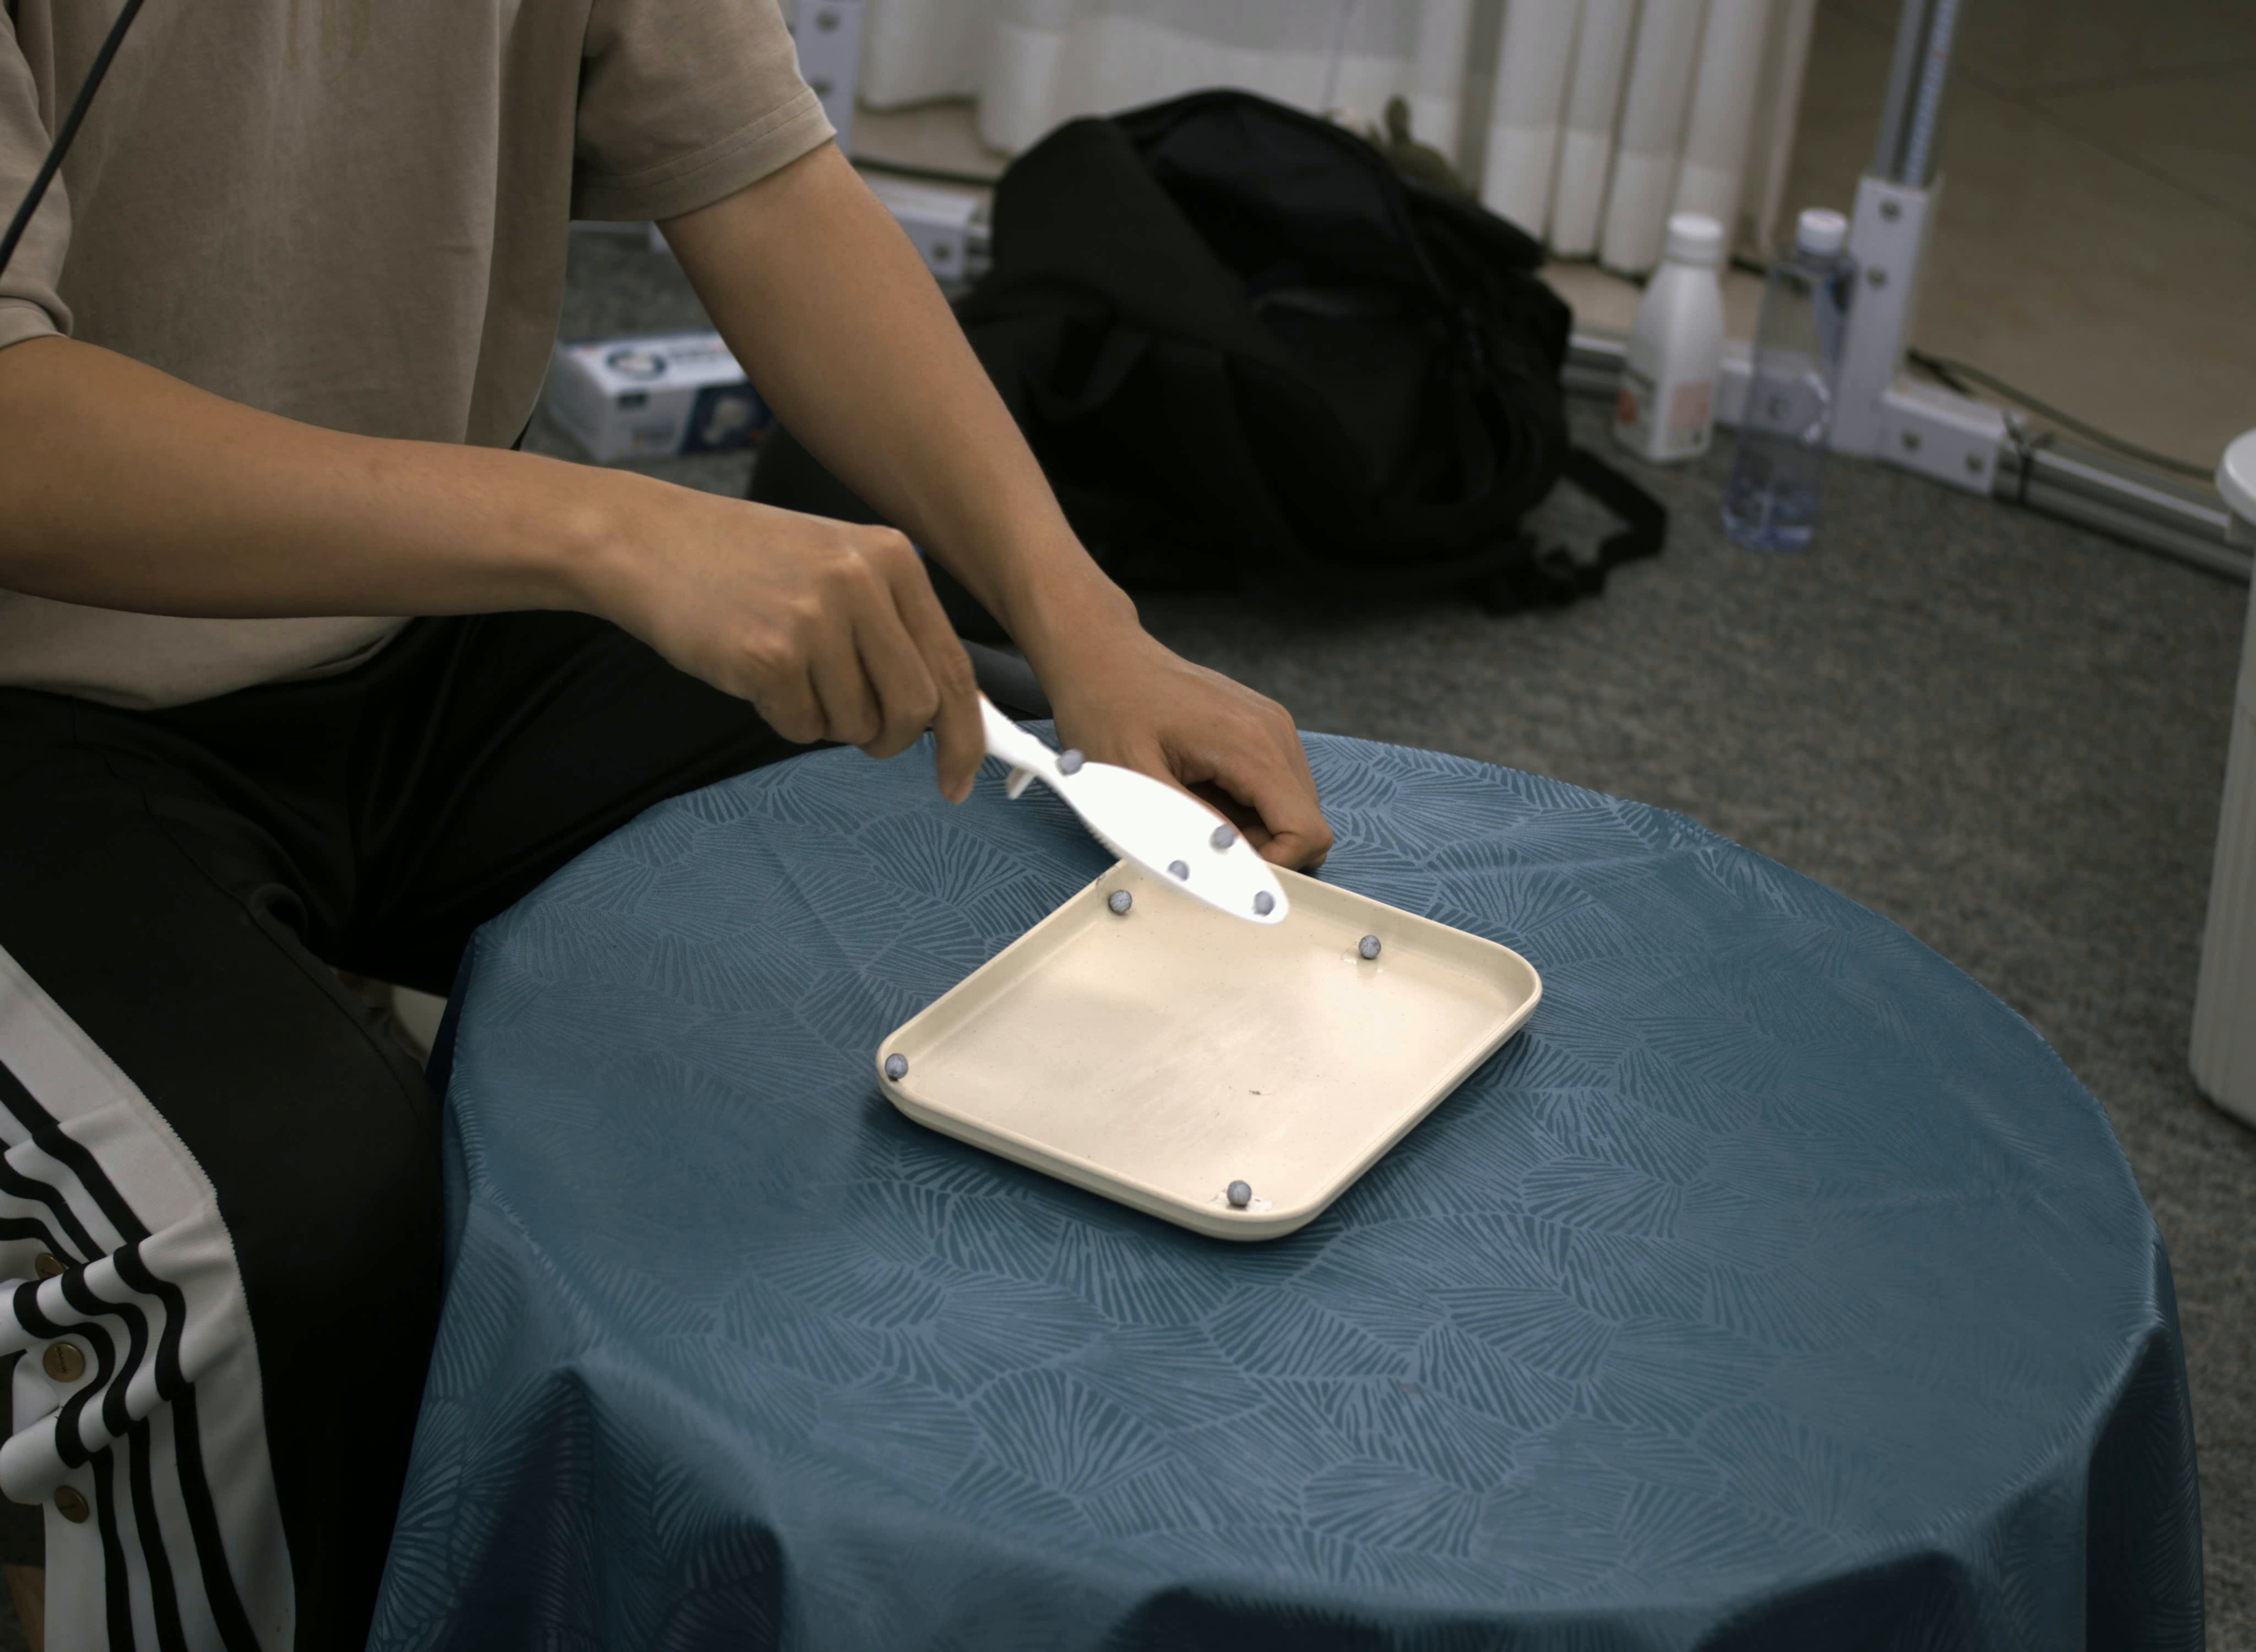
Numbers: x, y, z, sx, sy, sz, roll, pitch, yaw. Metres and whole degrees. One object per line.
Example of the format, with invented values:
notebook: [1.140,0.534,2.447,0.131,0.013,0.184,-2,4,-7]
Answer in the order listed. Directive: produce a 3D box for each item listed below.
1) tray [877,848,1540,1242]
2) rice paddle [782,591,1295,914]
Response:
tray: [0.031,0.075,1.887,0.172,0.017,0.239,20,29,22]
rice paddle: [-0.025,-0.023,1.823,0.204,0.029,0.069,28,25,-20]
